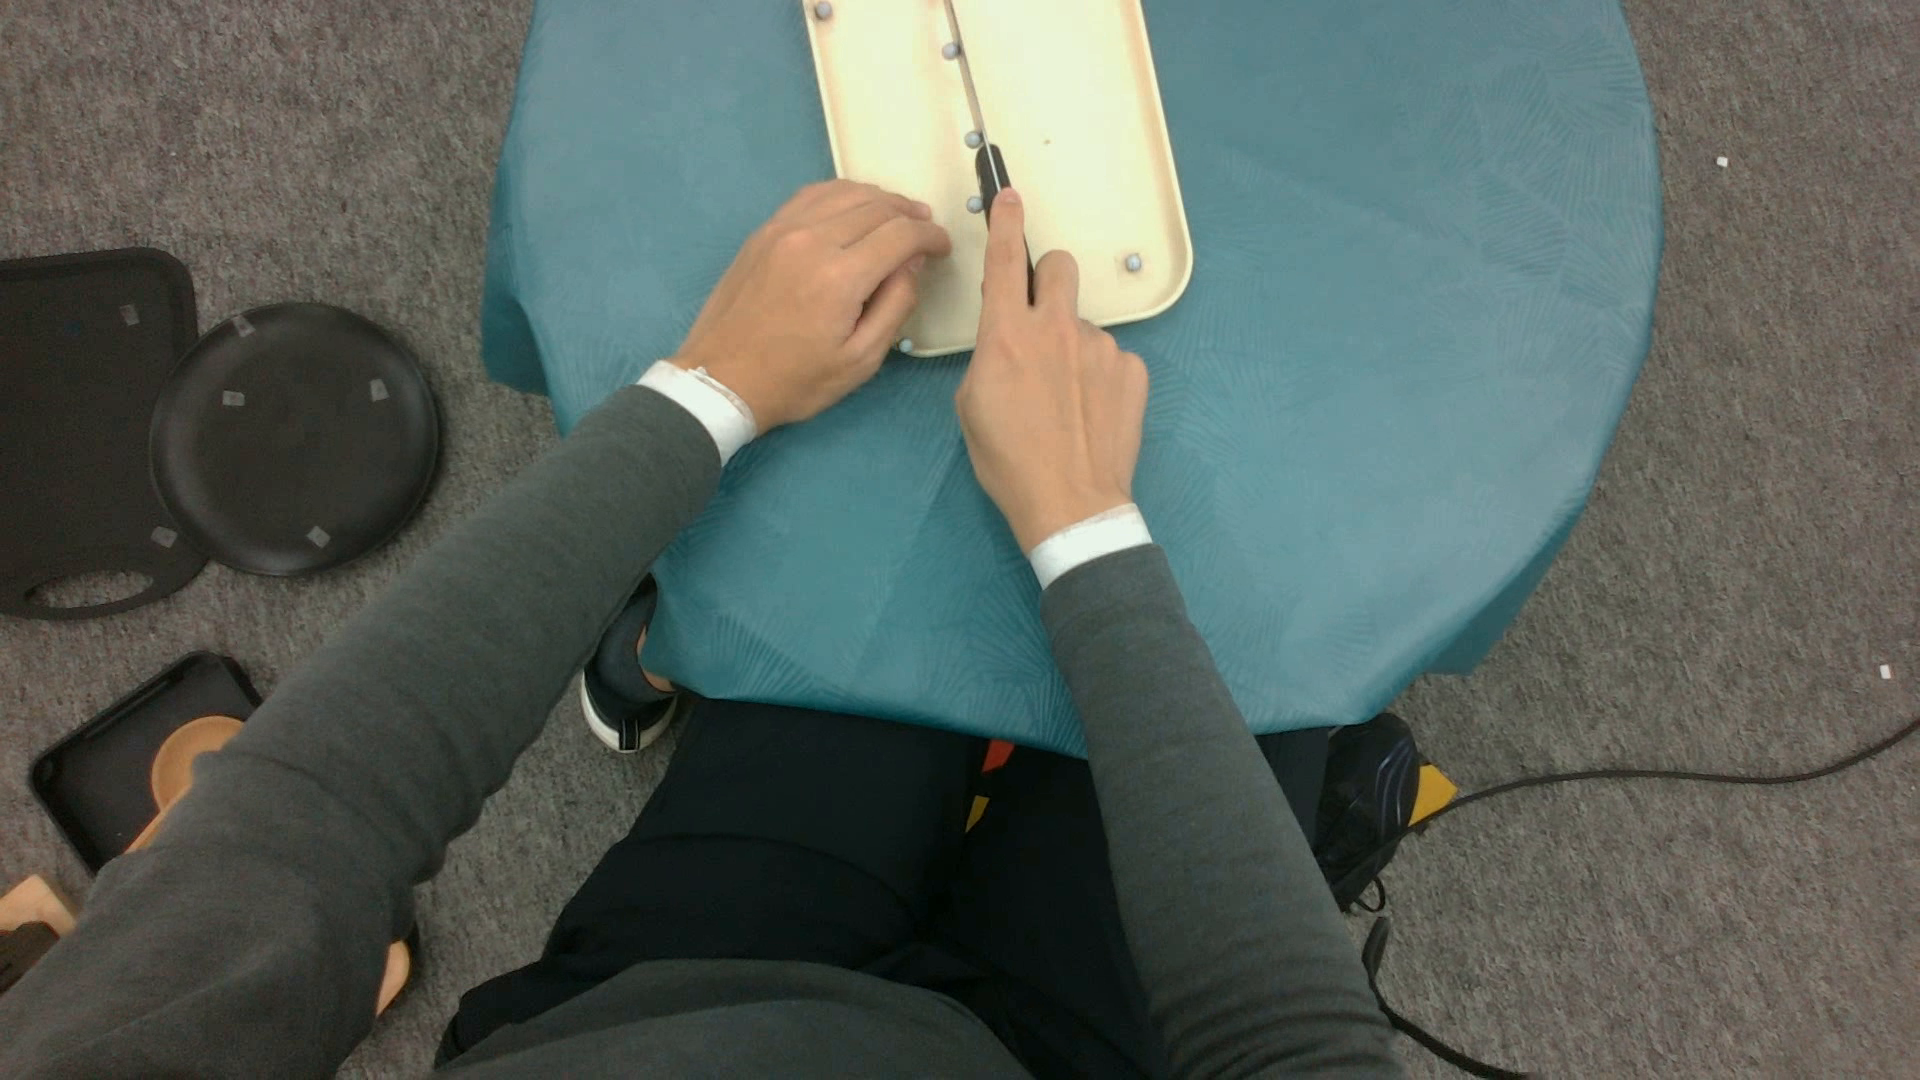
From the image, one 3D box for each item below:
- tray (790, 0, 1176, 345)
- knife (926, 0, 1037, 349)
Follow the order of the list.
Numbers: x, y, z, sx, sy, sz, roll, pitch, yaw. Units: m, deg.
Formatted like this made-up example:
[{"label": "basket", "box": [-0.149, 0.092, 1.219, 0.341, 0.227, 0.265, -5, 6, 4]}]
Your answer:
[{"label": "tray", "box": [0.009, -0.222, 0.704, 0.171, 0.017, 0.240, -10, 84, -6]}, {"label": "knife", "box": [0.003, -0.205, 0.683, 0.016, 0.024, 0.238, -13, 74, -4]}]
